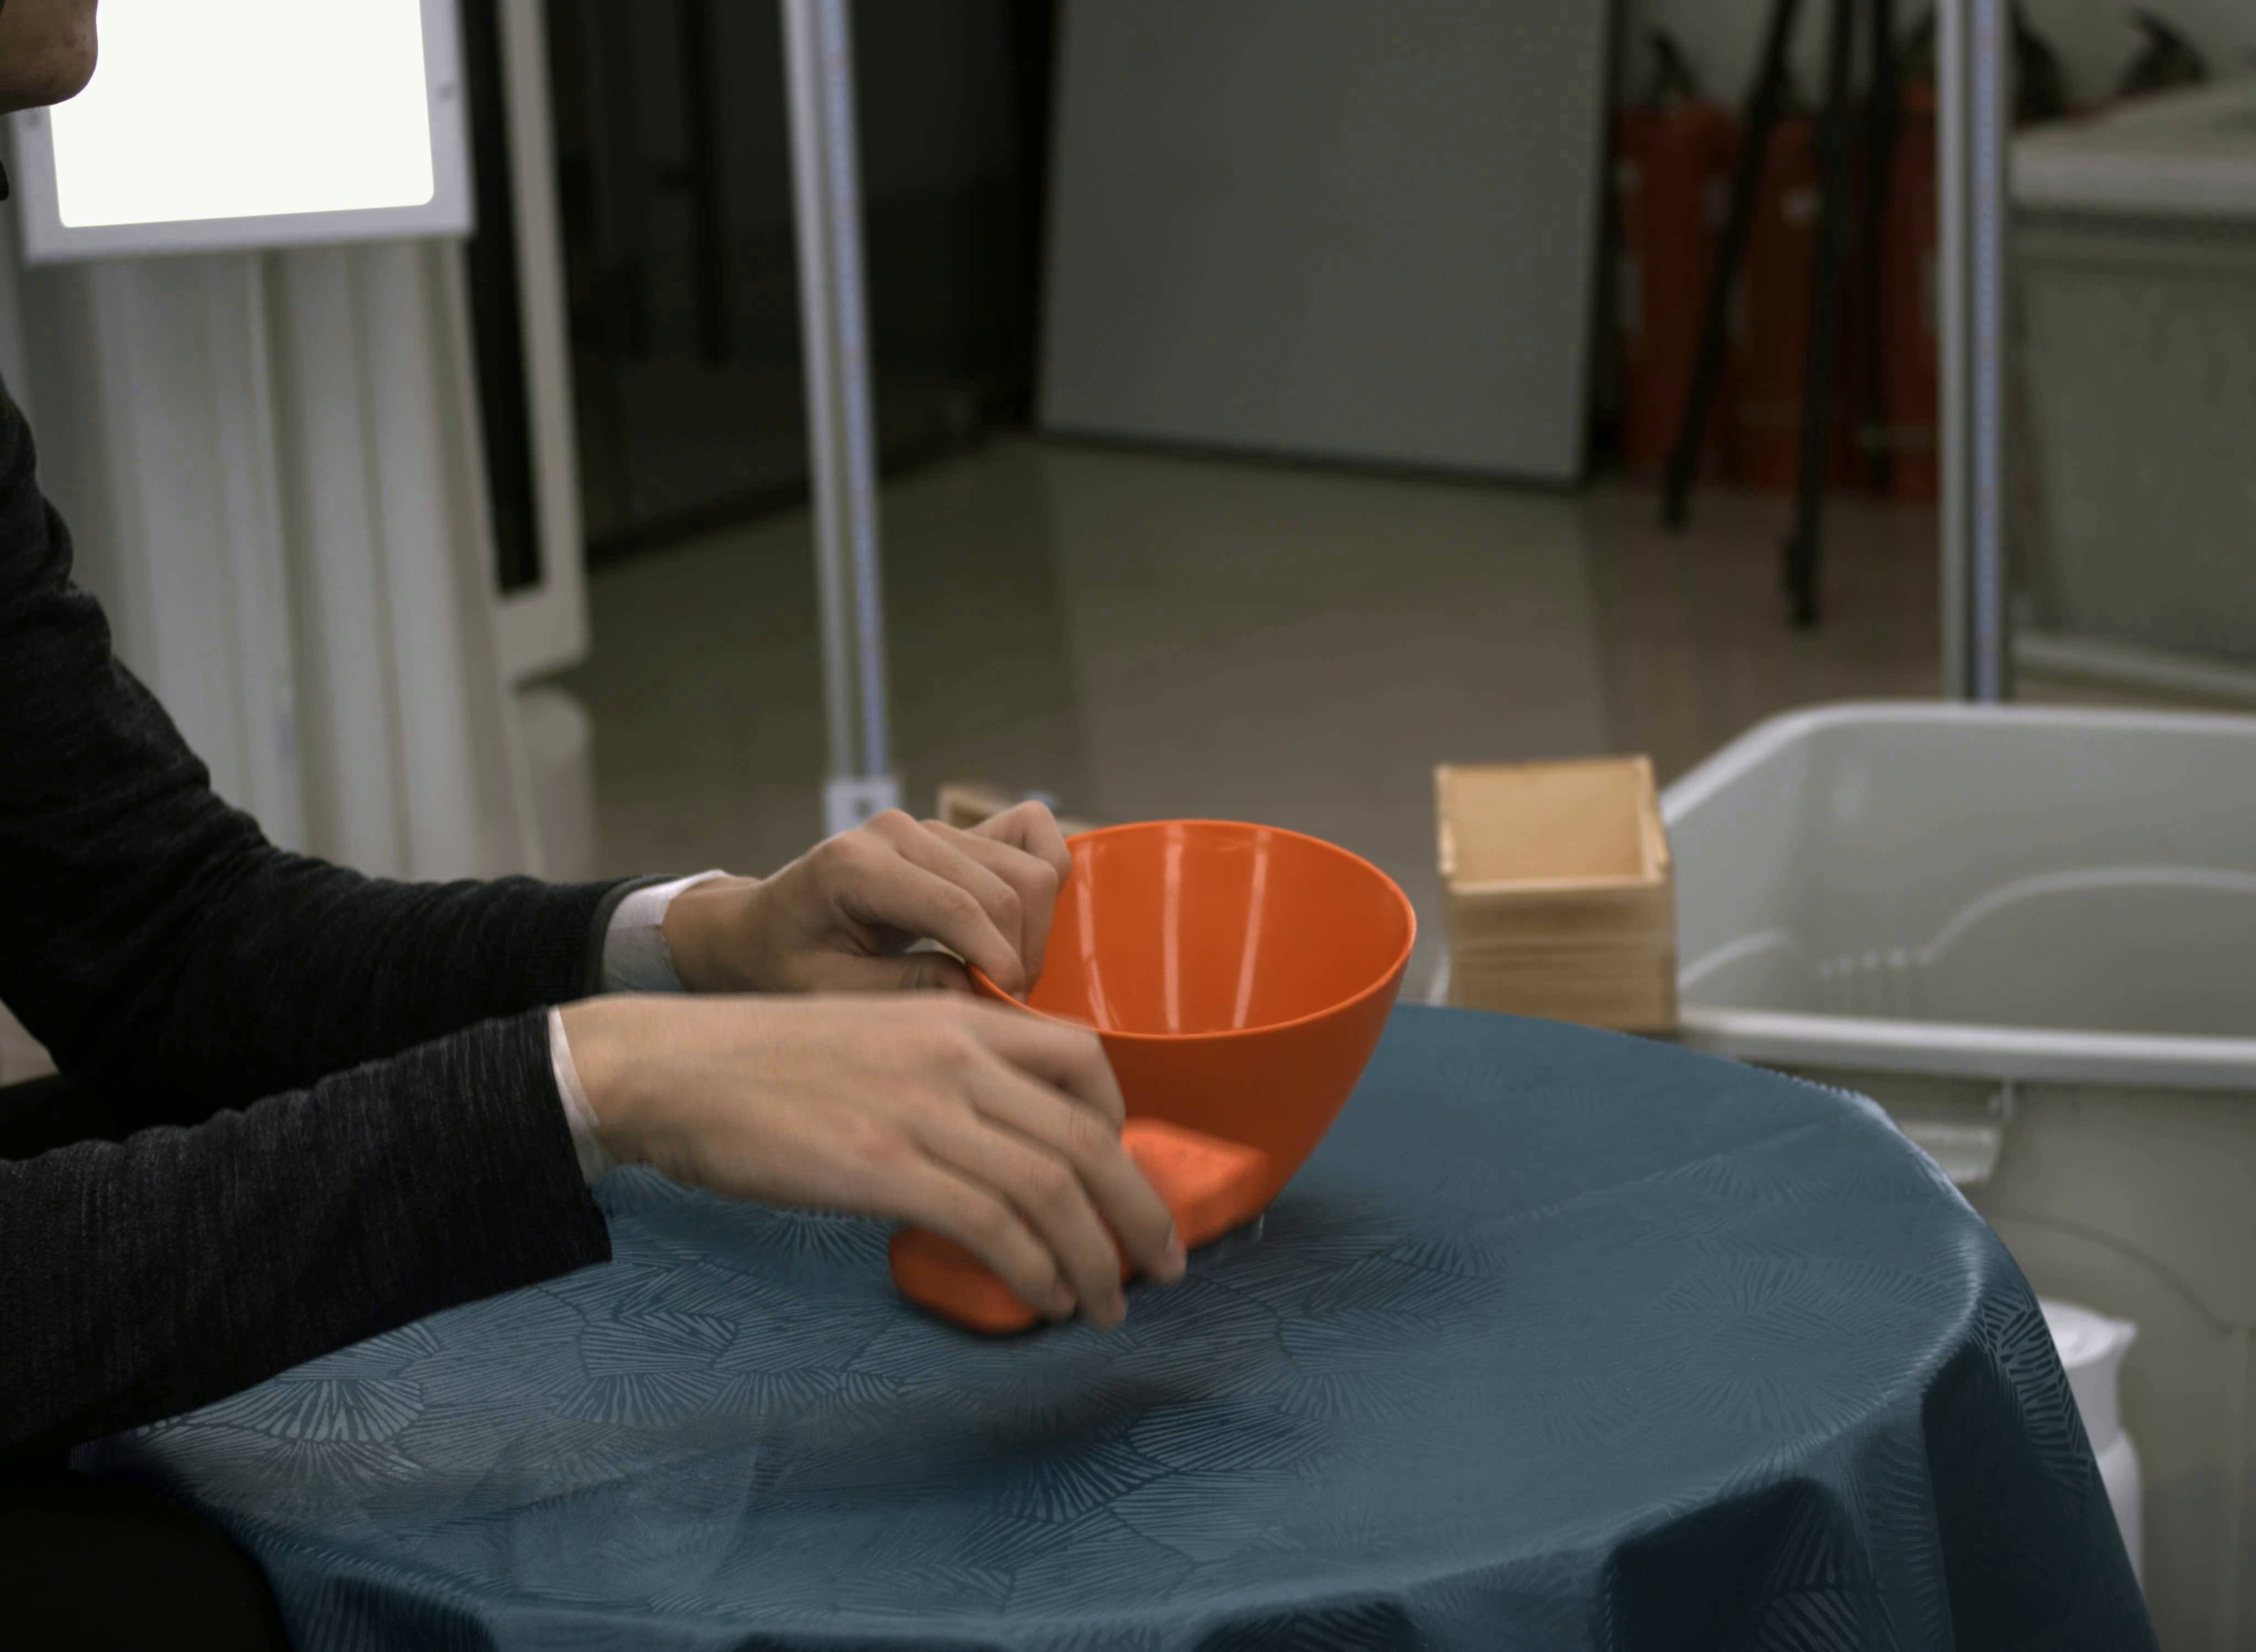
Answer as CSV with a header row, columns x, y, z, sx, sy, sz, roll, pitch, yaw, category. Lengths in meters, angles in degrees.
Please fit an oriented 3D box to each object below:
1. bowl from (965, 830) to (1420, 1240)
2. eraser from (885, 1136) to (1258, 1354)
x,y,z,sx,sy,sz,roll,pitch,yaw,category
0.020,0.072,1.736,0.146,0.106,0.148,0,16,-1,bowl
-0.016,0.120,1.561,0.106,0.023,0.059,-20,24,-39,eraser
